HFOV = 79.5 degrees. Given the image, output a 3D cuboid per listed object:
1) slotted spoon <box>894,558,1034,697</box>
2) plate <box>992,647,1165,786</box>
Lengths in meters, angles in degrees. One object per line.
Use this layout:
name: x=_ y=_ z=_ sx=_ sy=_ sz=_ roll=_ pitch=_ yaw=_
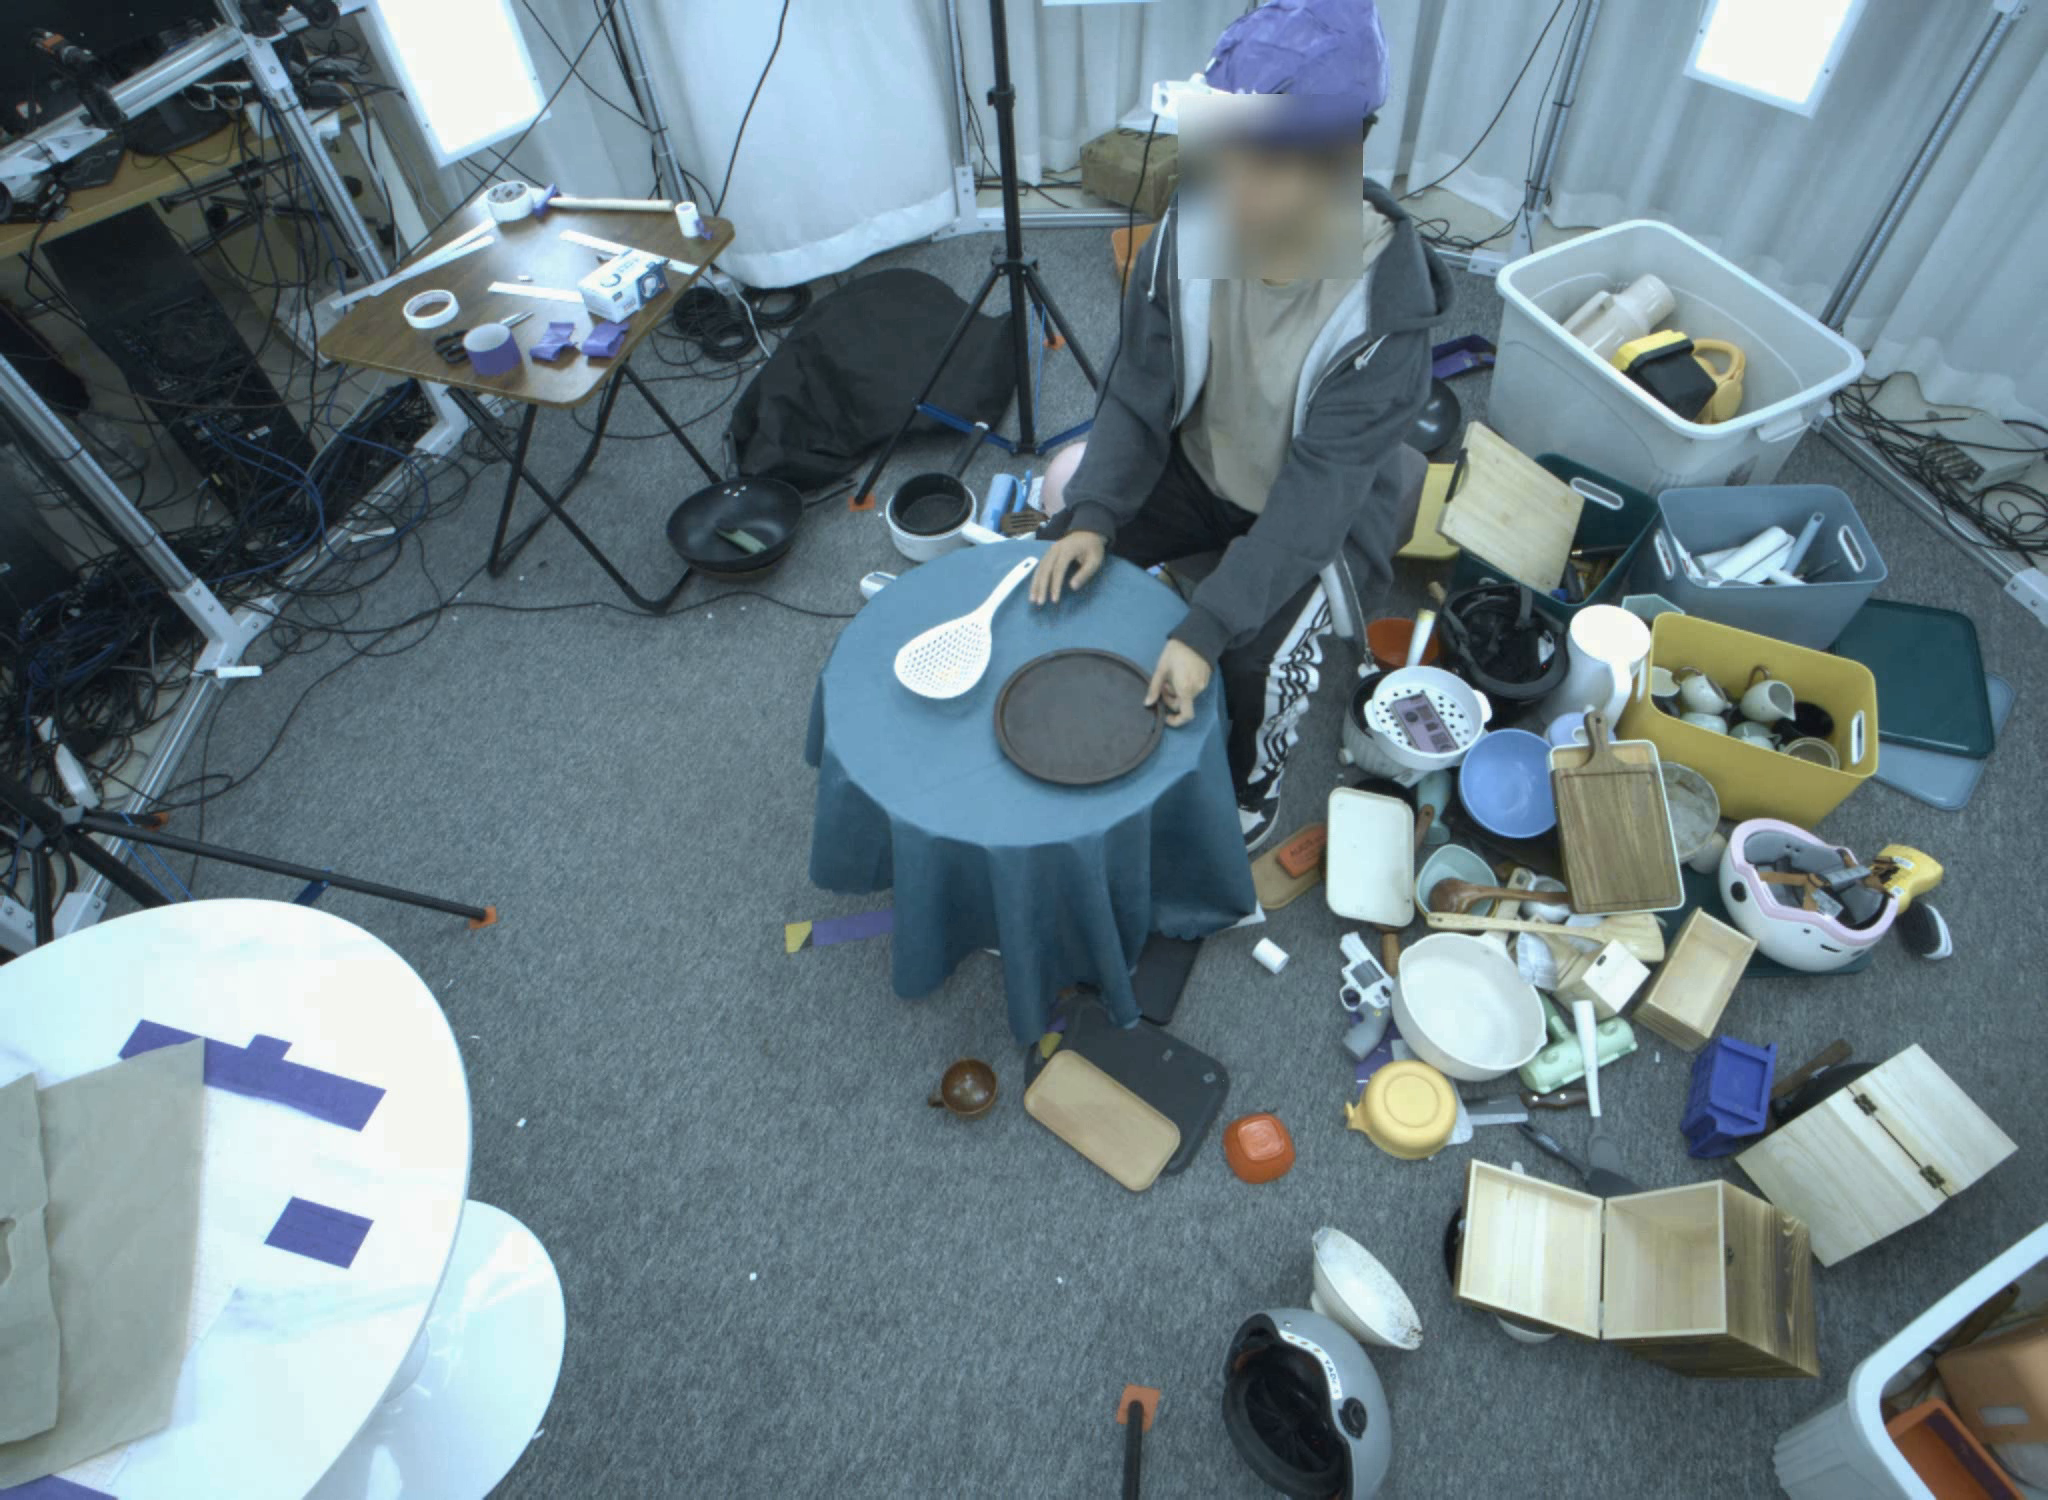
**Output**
slotted spoon: x=-0.069 y=-0.199 z=1.908 sx=0.135 sy=0.051 sz=0.349 roll=22 pitch=58 yaw=20
plate: x=0.080 y=-0.050 z=1.809 sx=0.254 sy=0.029 sz=0.252 roll=-1 pitch=54 yaw=3
